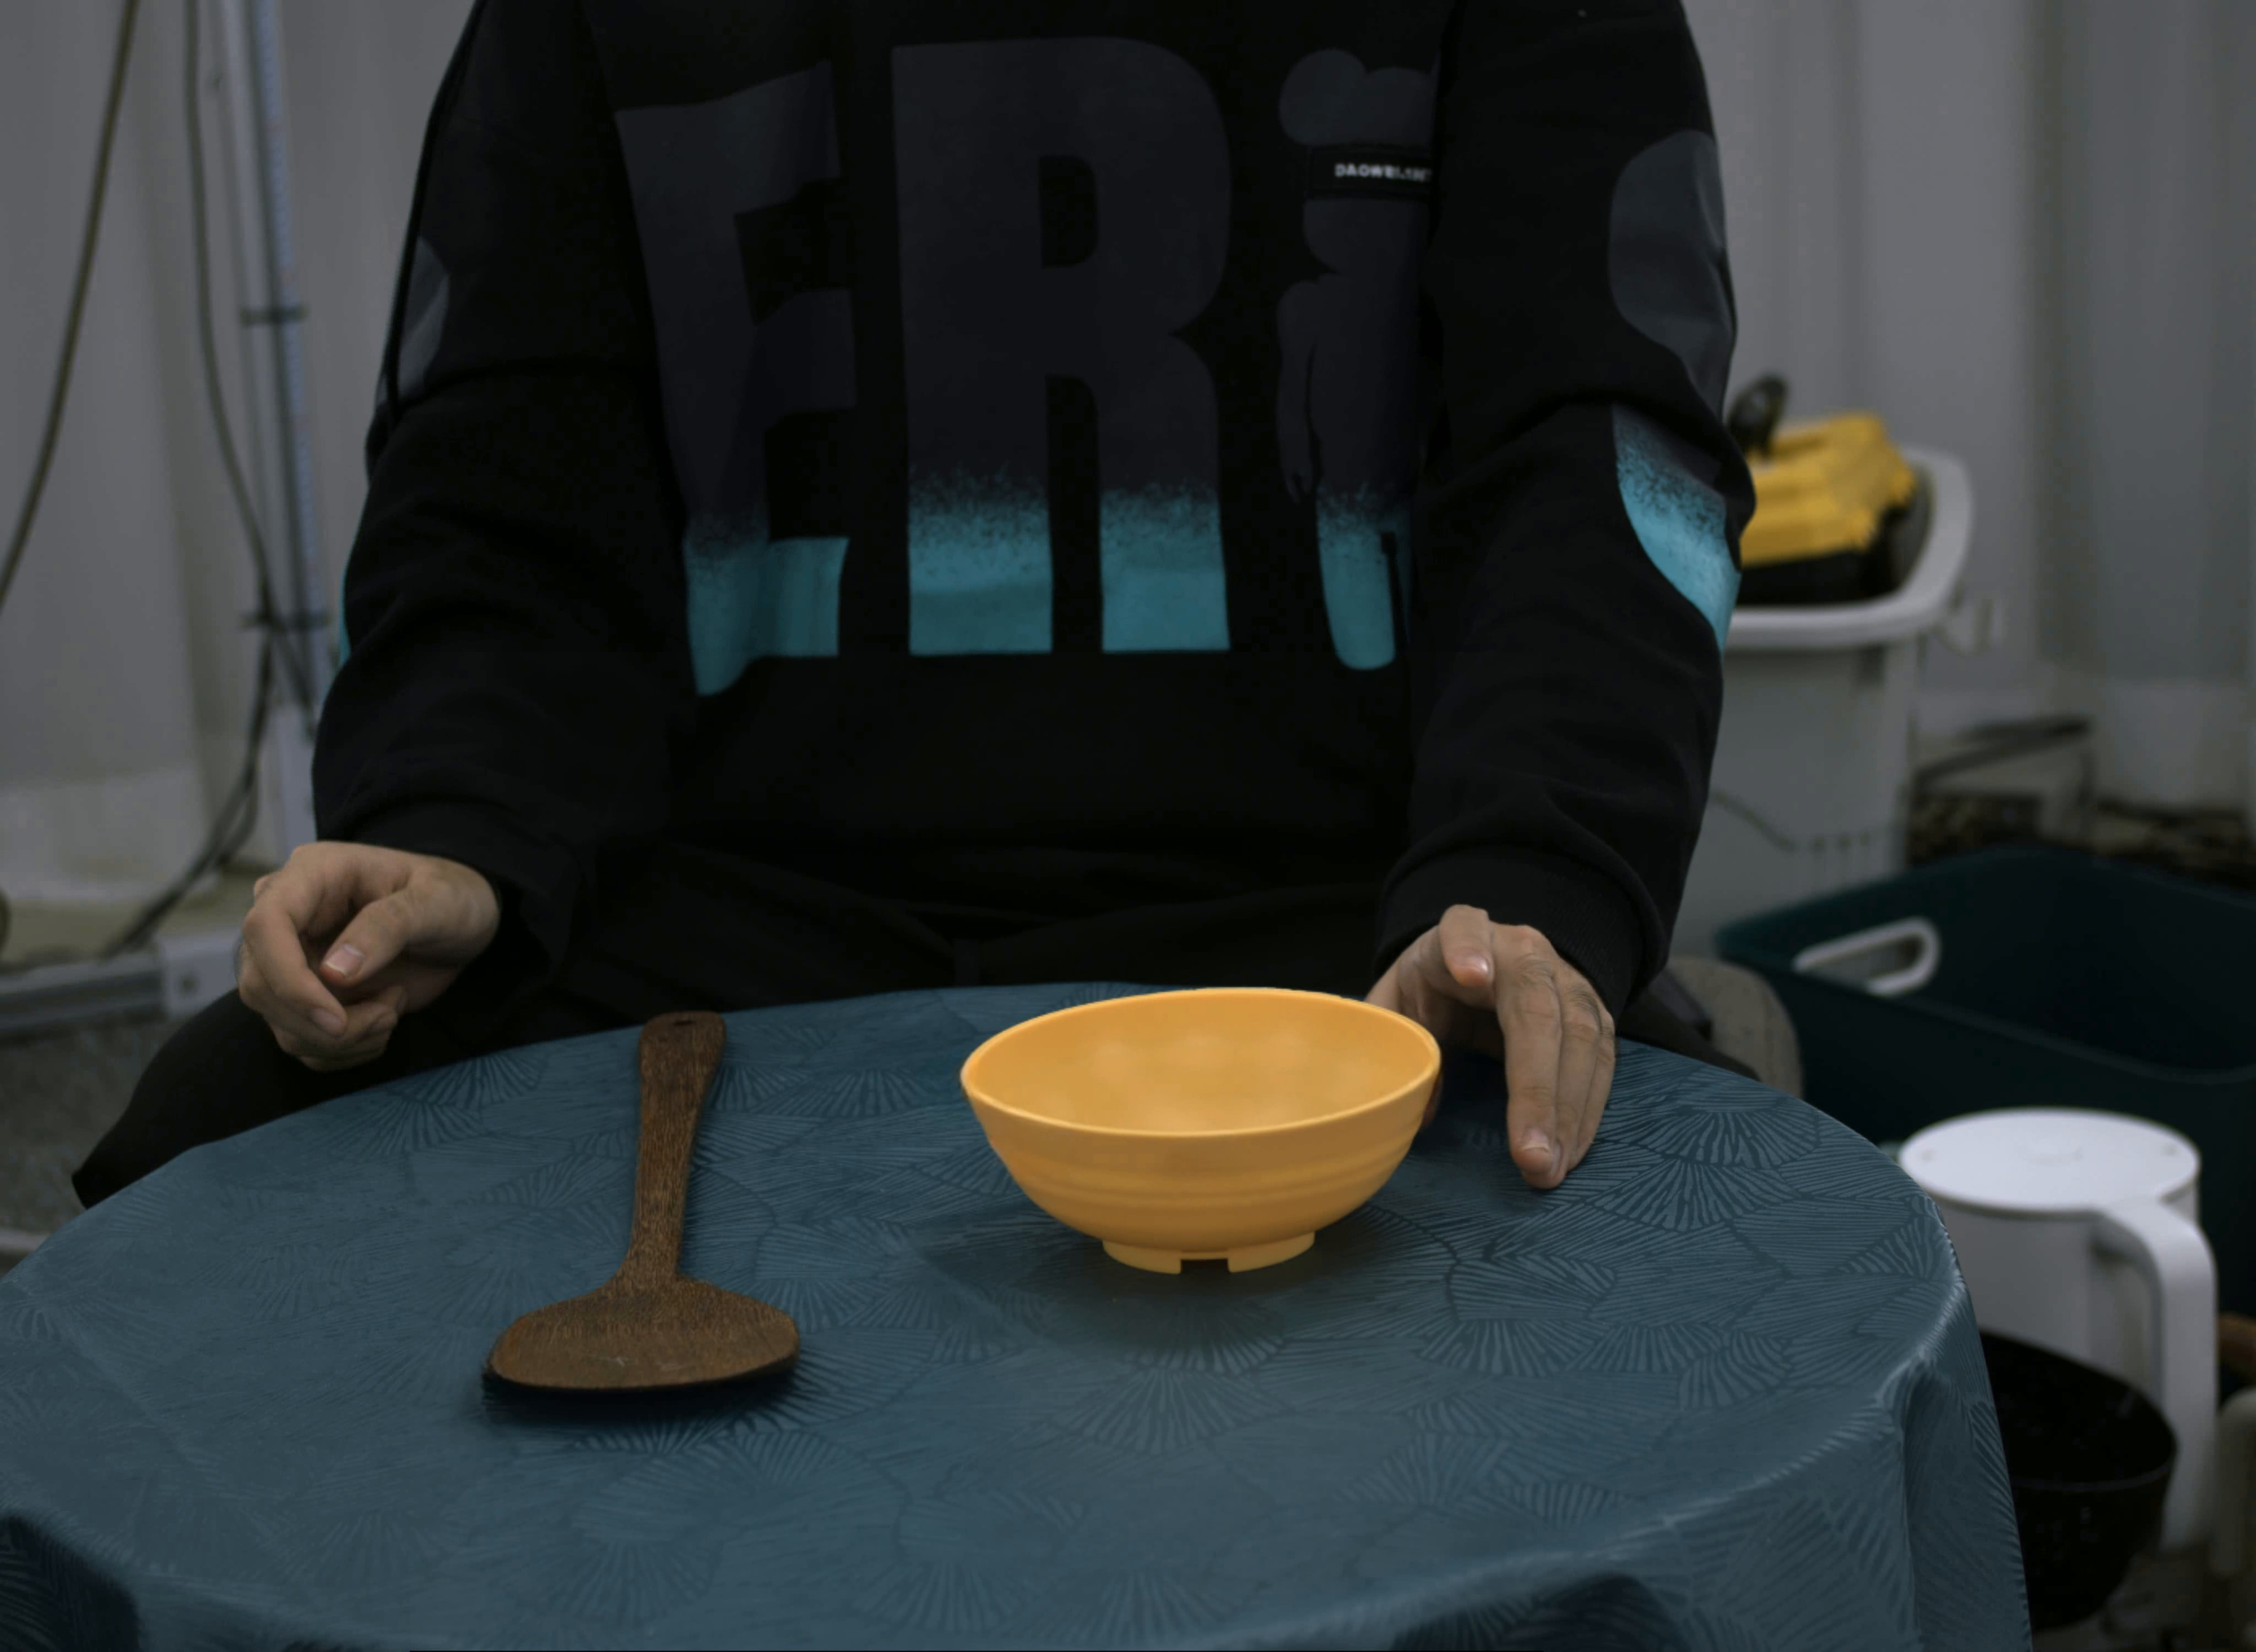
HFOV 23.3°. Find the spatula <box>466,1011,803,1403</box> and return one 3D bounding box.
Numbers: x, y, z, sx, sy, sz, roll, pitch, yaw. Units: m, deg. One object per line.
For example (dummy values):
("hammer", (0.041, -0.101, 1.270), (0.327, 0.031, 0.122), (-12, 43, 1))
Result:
("spatula", (-0.147, 0.114, 1.720), (0.096, 0.016, 0.388), (-3, 15, -2))

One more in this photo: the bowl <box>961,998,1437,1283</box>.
("bowl", (0.022, 0.100, 1.659), (0.145, 0.060, 0.146), (0, 14, 0))
